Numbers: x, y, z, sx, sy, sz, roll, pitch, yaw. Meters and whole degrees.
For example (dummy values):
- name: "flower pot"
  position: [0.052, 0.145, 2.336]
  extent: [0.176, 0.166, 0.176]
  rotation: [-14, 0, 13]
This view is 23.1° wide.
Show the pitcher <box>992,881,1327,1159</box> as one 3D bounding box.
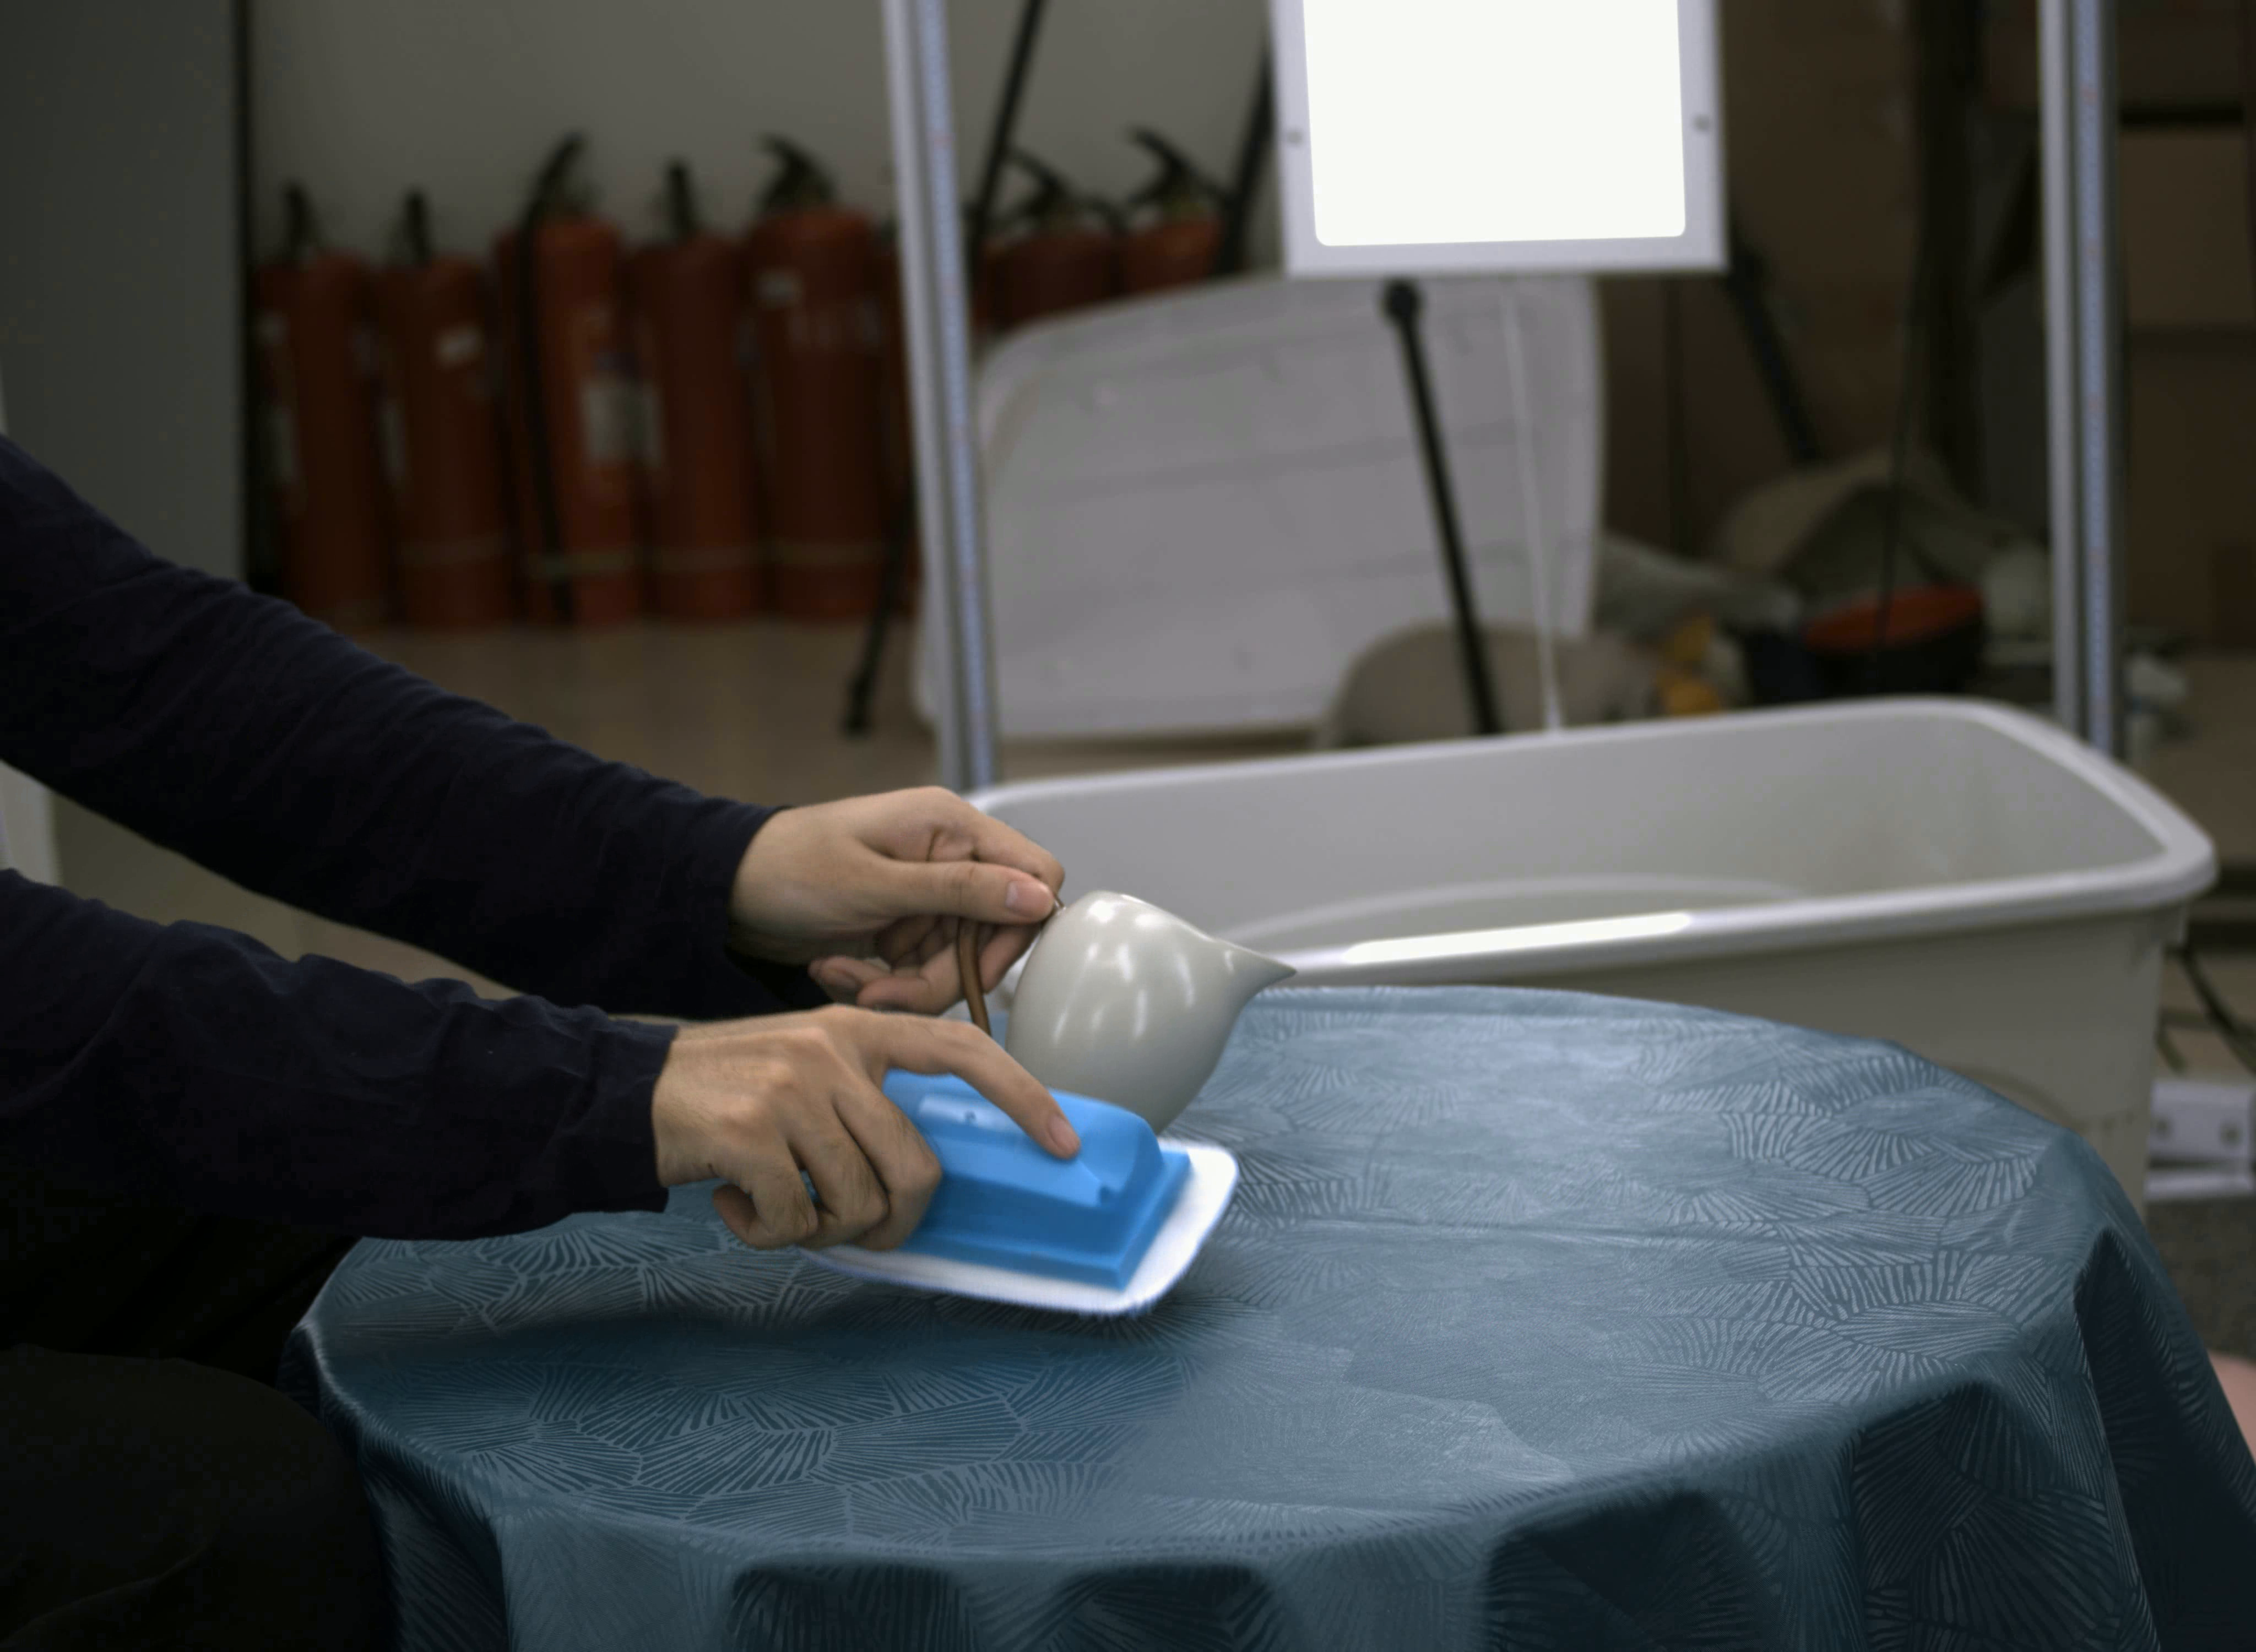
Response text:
- name: "pitcher"
  position: [-0.003, 0.070, 1.915]
  extent: [0.120, 0.087, 0.075]
  rotation: [27, -12, 22]

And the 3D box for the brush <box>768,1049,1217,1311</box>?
- name: "brush"
  position: [-0.047, 0.112, 1.788]
  extent: [0.147, 0.056, 0.082]
  rotation: [10, 44, 33]
